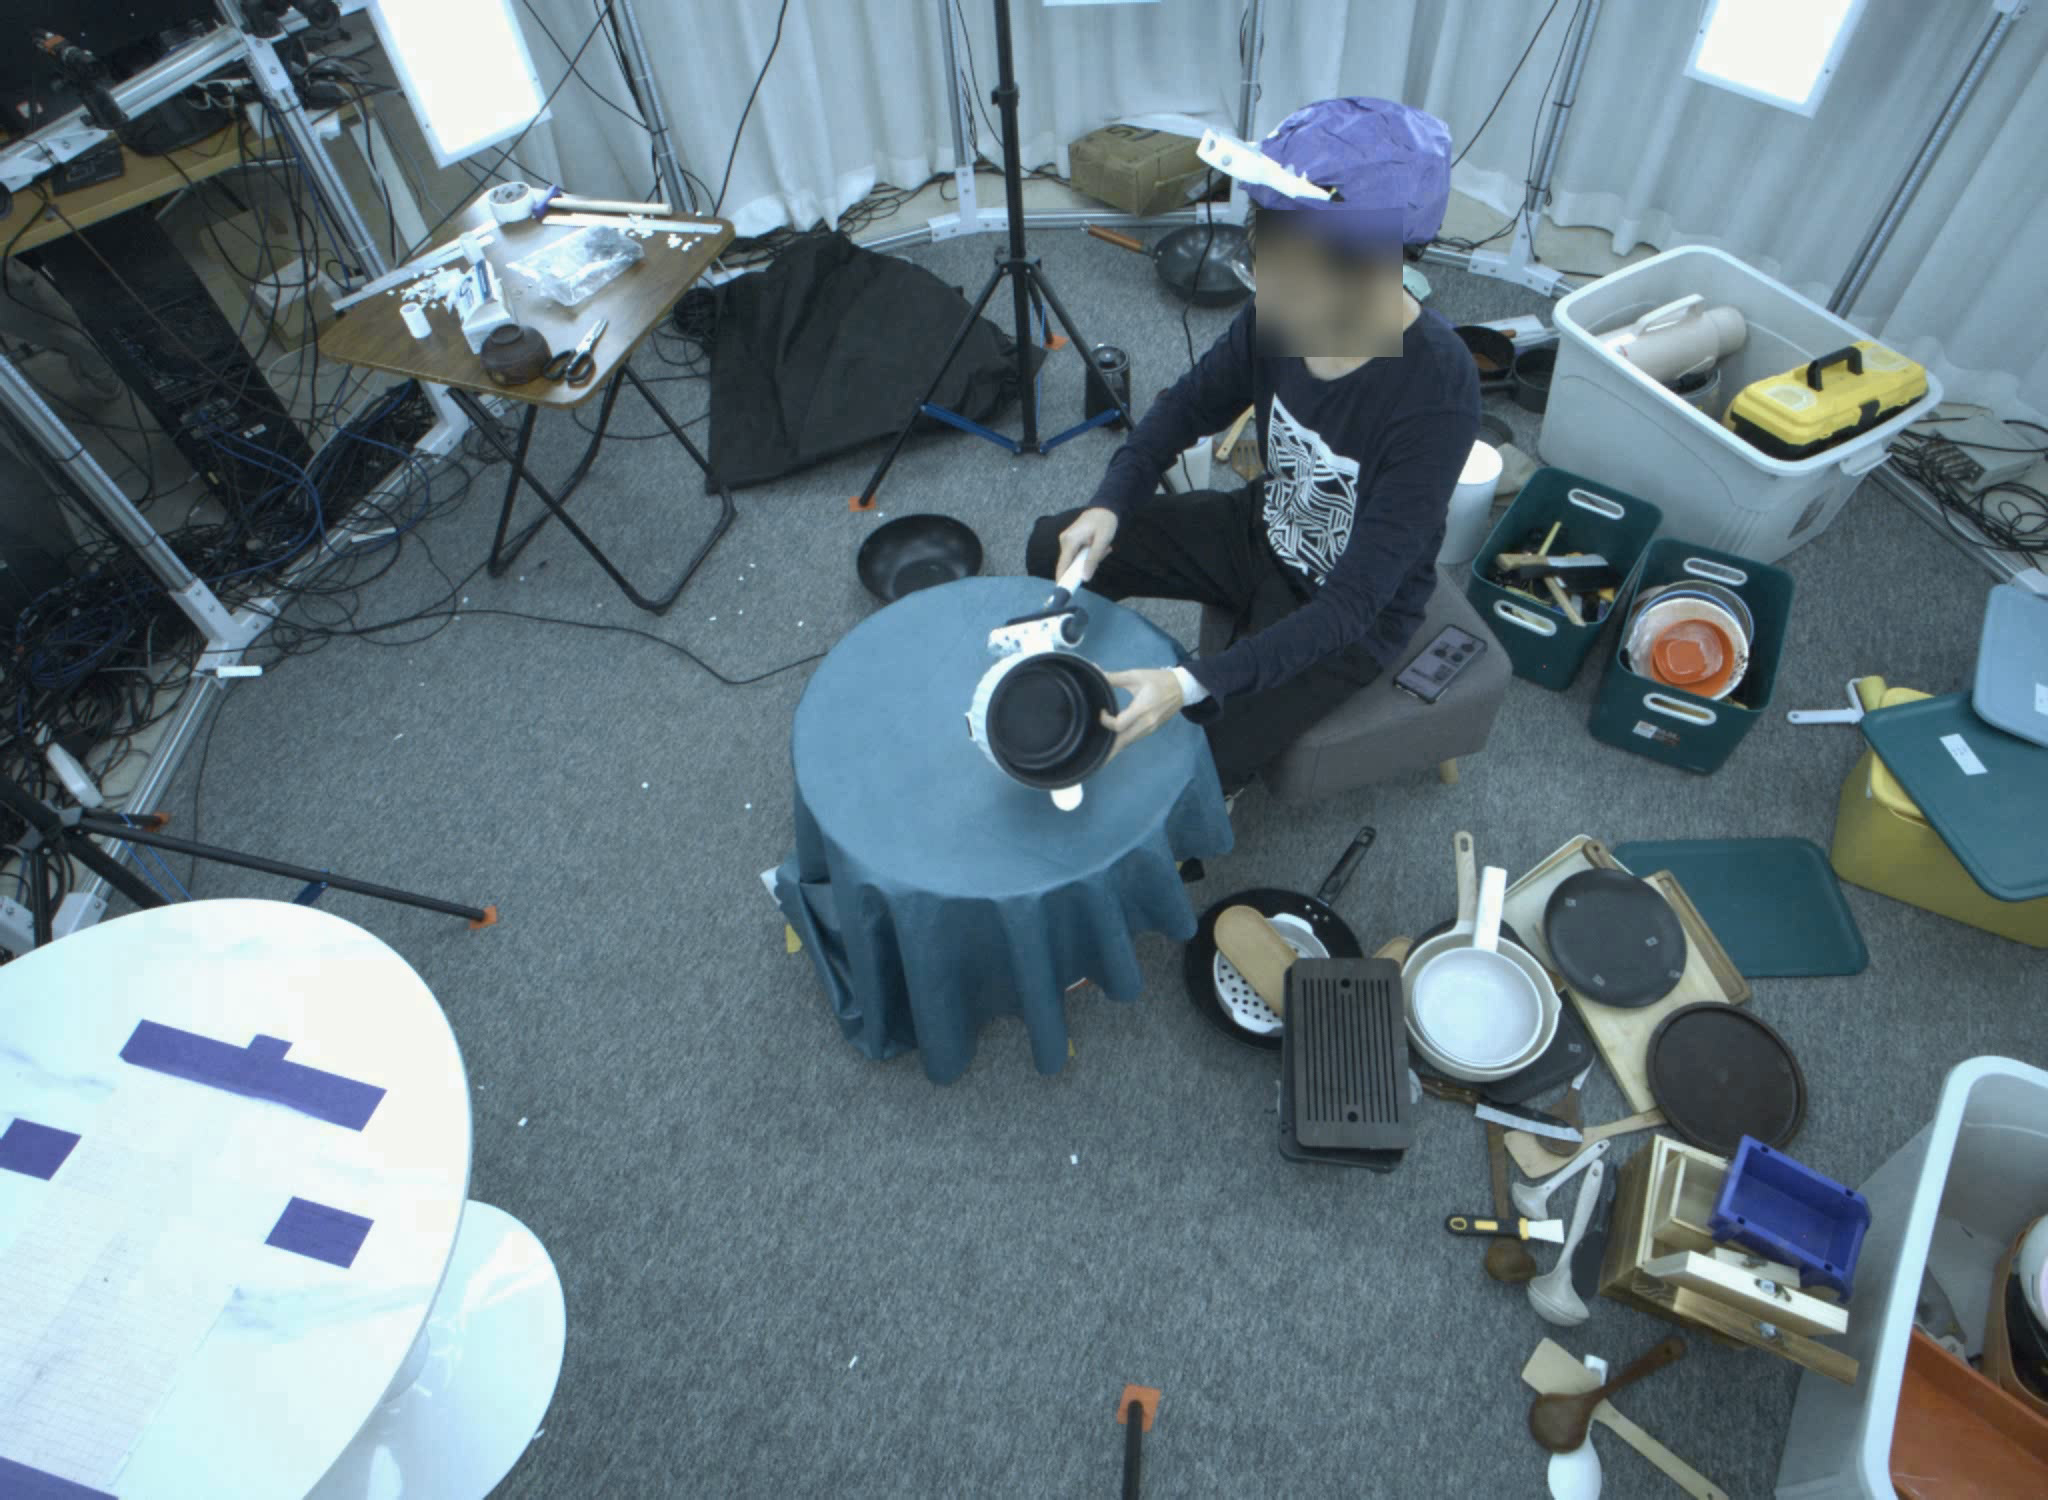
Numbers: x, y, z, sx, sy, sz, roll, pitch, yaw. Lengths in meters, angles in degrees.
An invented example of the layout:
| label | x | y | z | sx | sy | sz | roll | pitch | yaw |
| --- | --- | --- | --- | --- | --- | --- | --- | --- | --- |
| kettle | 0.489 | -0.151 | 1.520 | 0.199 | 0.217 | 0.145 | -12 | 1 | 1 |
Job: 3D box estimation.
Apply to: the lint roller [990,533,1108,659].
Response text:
| label | x | y | z | sx | sy | sz | roll | pitch | yaw |
| --- | --- | --- | --- | --- | --- | --- | --- | --- | --- |
| lint roller | 0.060 | -0.242 | 1.839 | 0.172 | 0.051 | 0.247 | -5 | 47 | 48 |

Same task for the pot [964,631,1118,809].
| label | x | y | z | sx | sy | sz | roll | pitch | yaw |
| --- | --- | --- | --- | --- | --- | --- | --- | --- | --- |
| pot | 0.024 | -0.049 | 1.657 | 0.192 | 0.242 | 0.140 | -15 | 14 | -12 |
